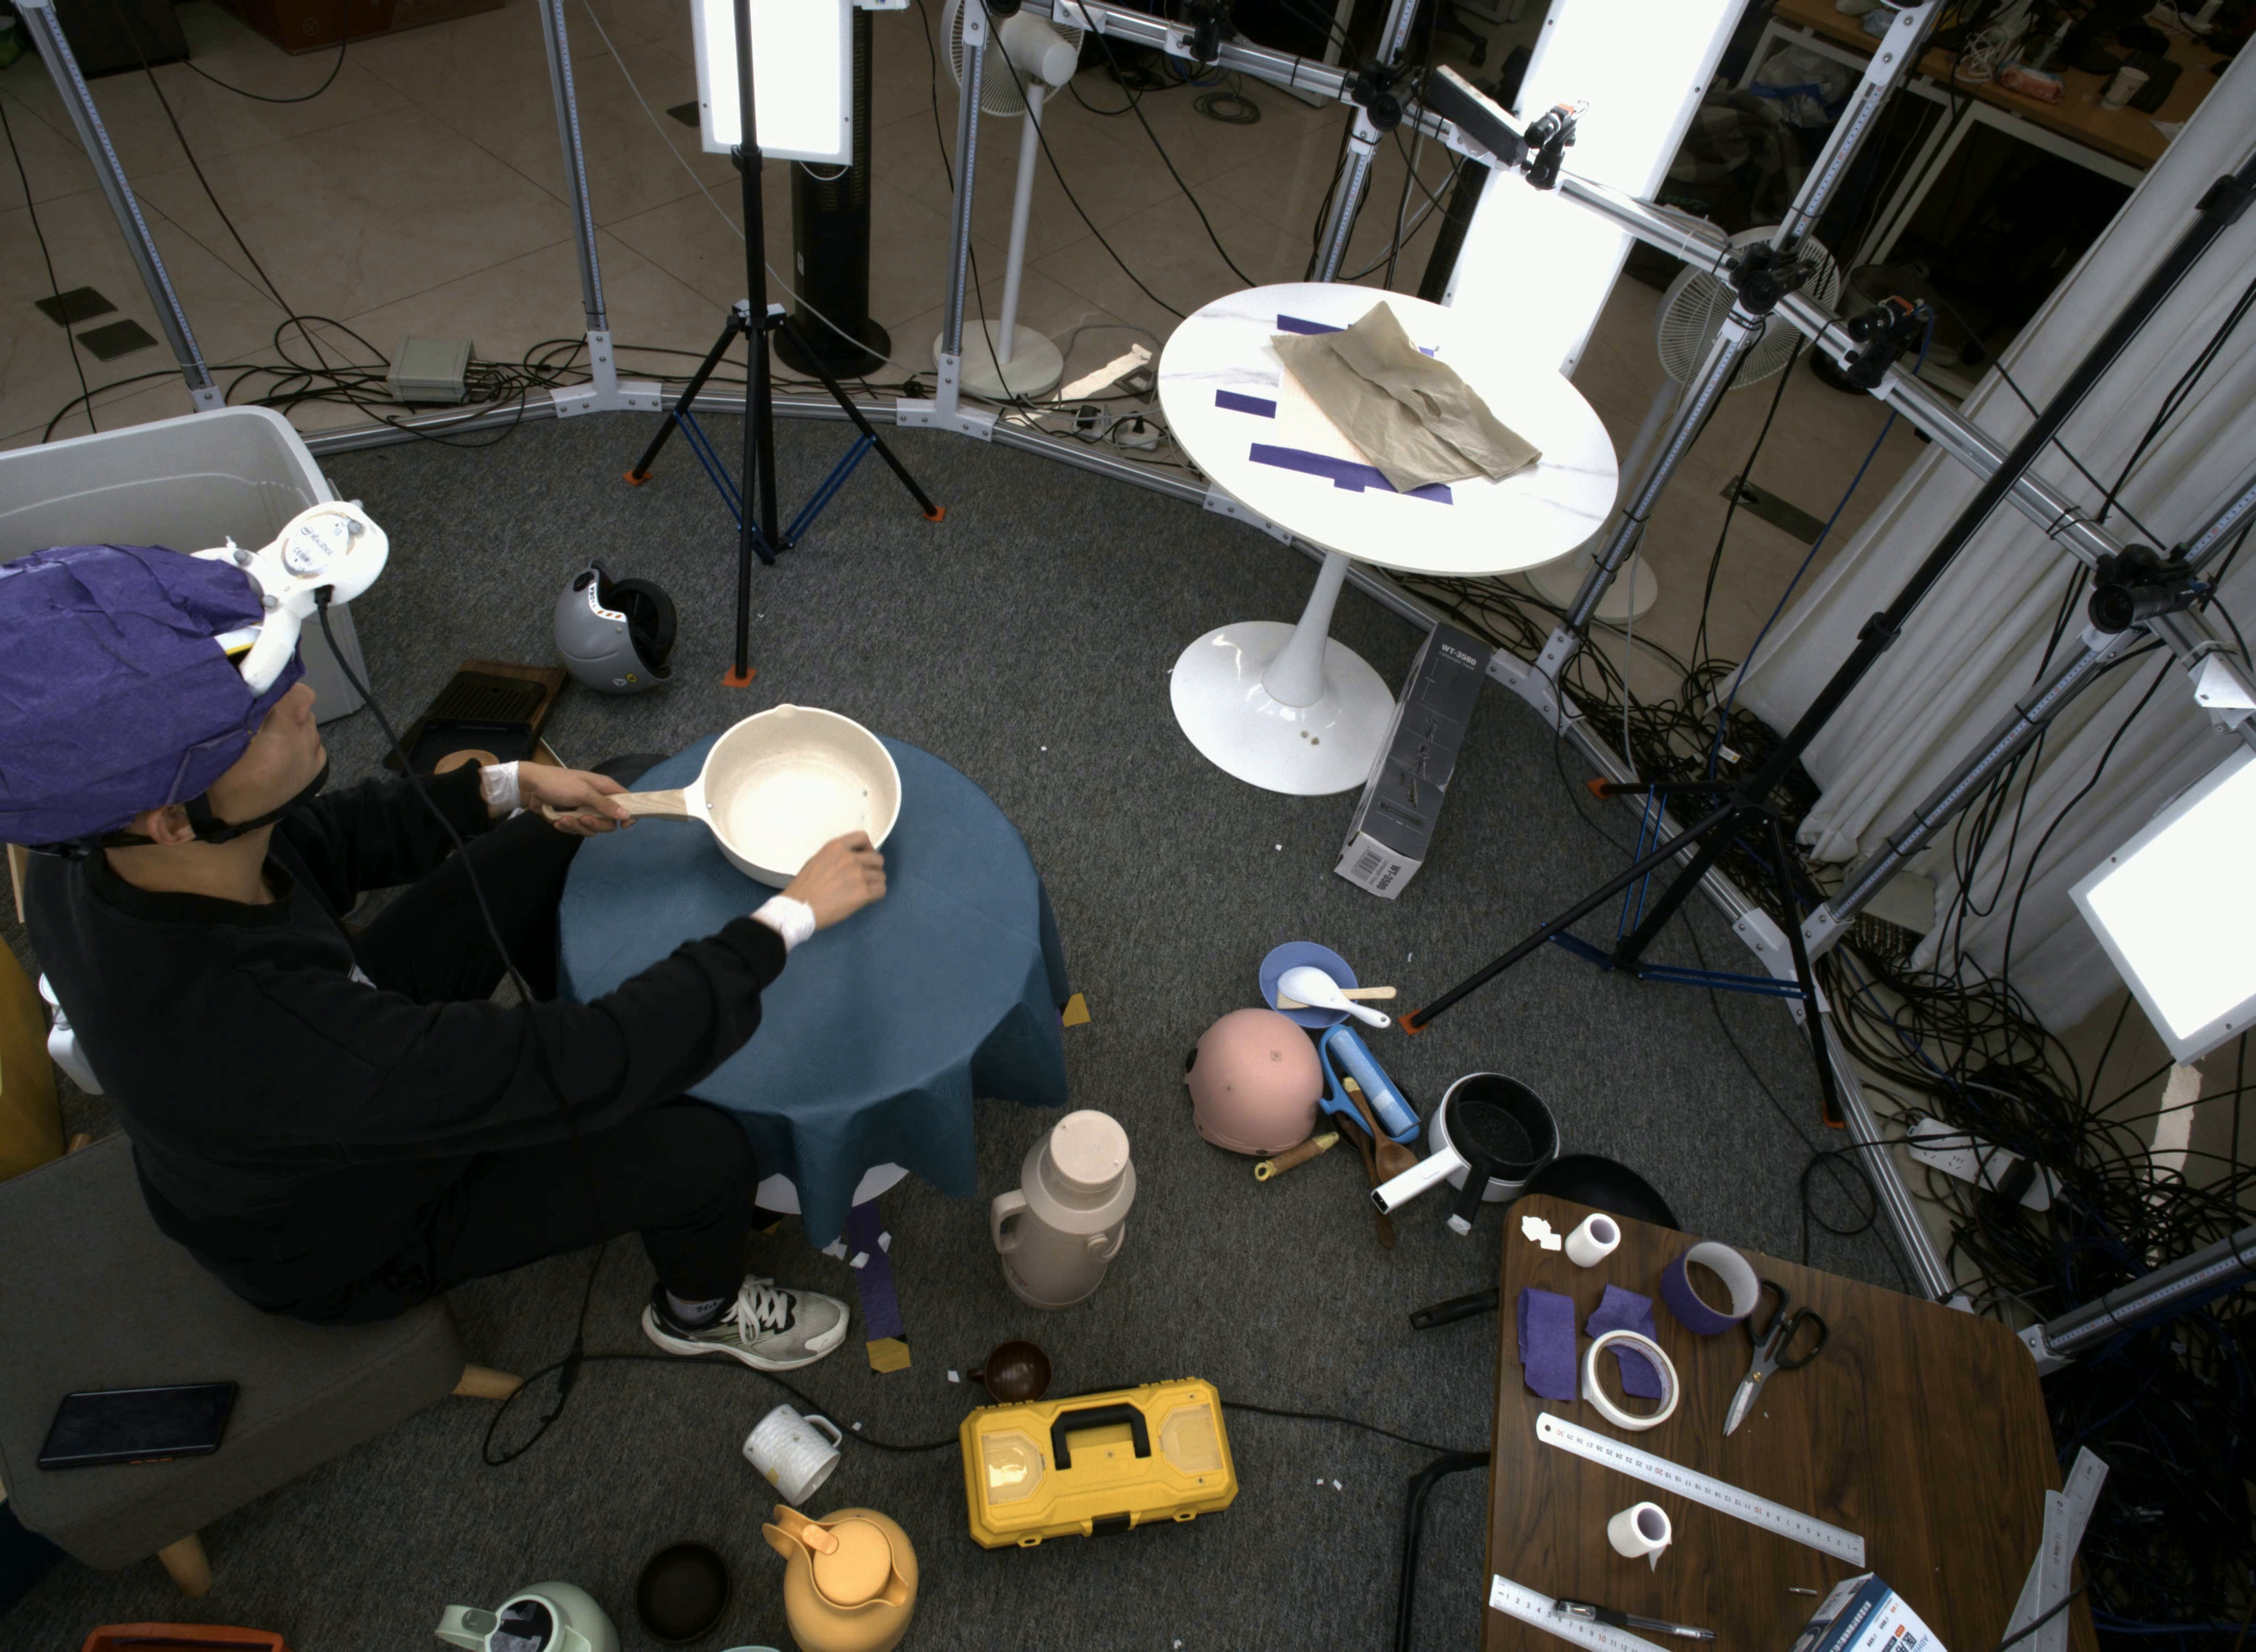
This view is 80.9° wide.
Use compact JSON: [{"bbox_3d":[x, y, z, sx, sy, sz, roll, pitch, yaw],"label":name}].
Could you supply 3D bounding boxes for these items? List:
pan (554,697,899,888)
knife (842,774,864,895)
[{"bbox_3d":[-0.509,-0.025,1.635,0.437,0.103,0.259,-9,66,-23],"label":"pan"},{"bbox_3d":[-0.324,0.006,1.535,0.017,0.027,0.219,-28,35,13],"label":"knife"}]
